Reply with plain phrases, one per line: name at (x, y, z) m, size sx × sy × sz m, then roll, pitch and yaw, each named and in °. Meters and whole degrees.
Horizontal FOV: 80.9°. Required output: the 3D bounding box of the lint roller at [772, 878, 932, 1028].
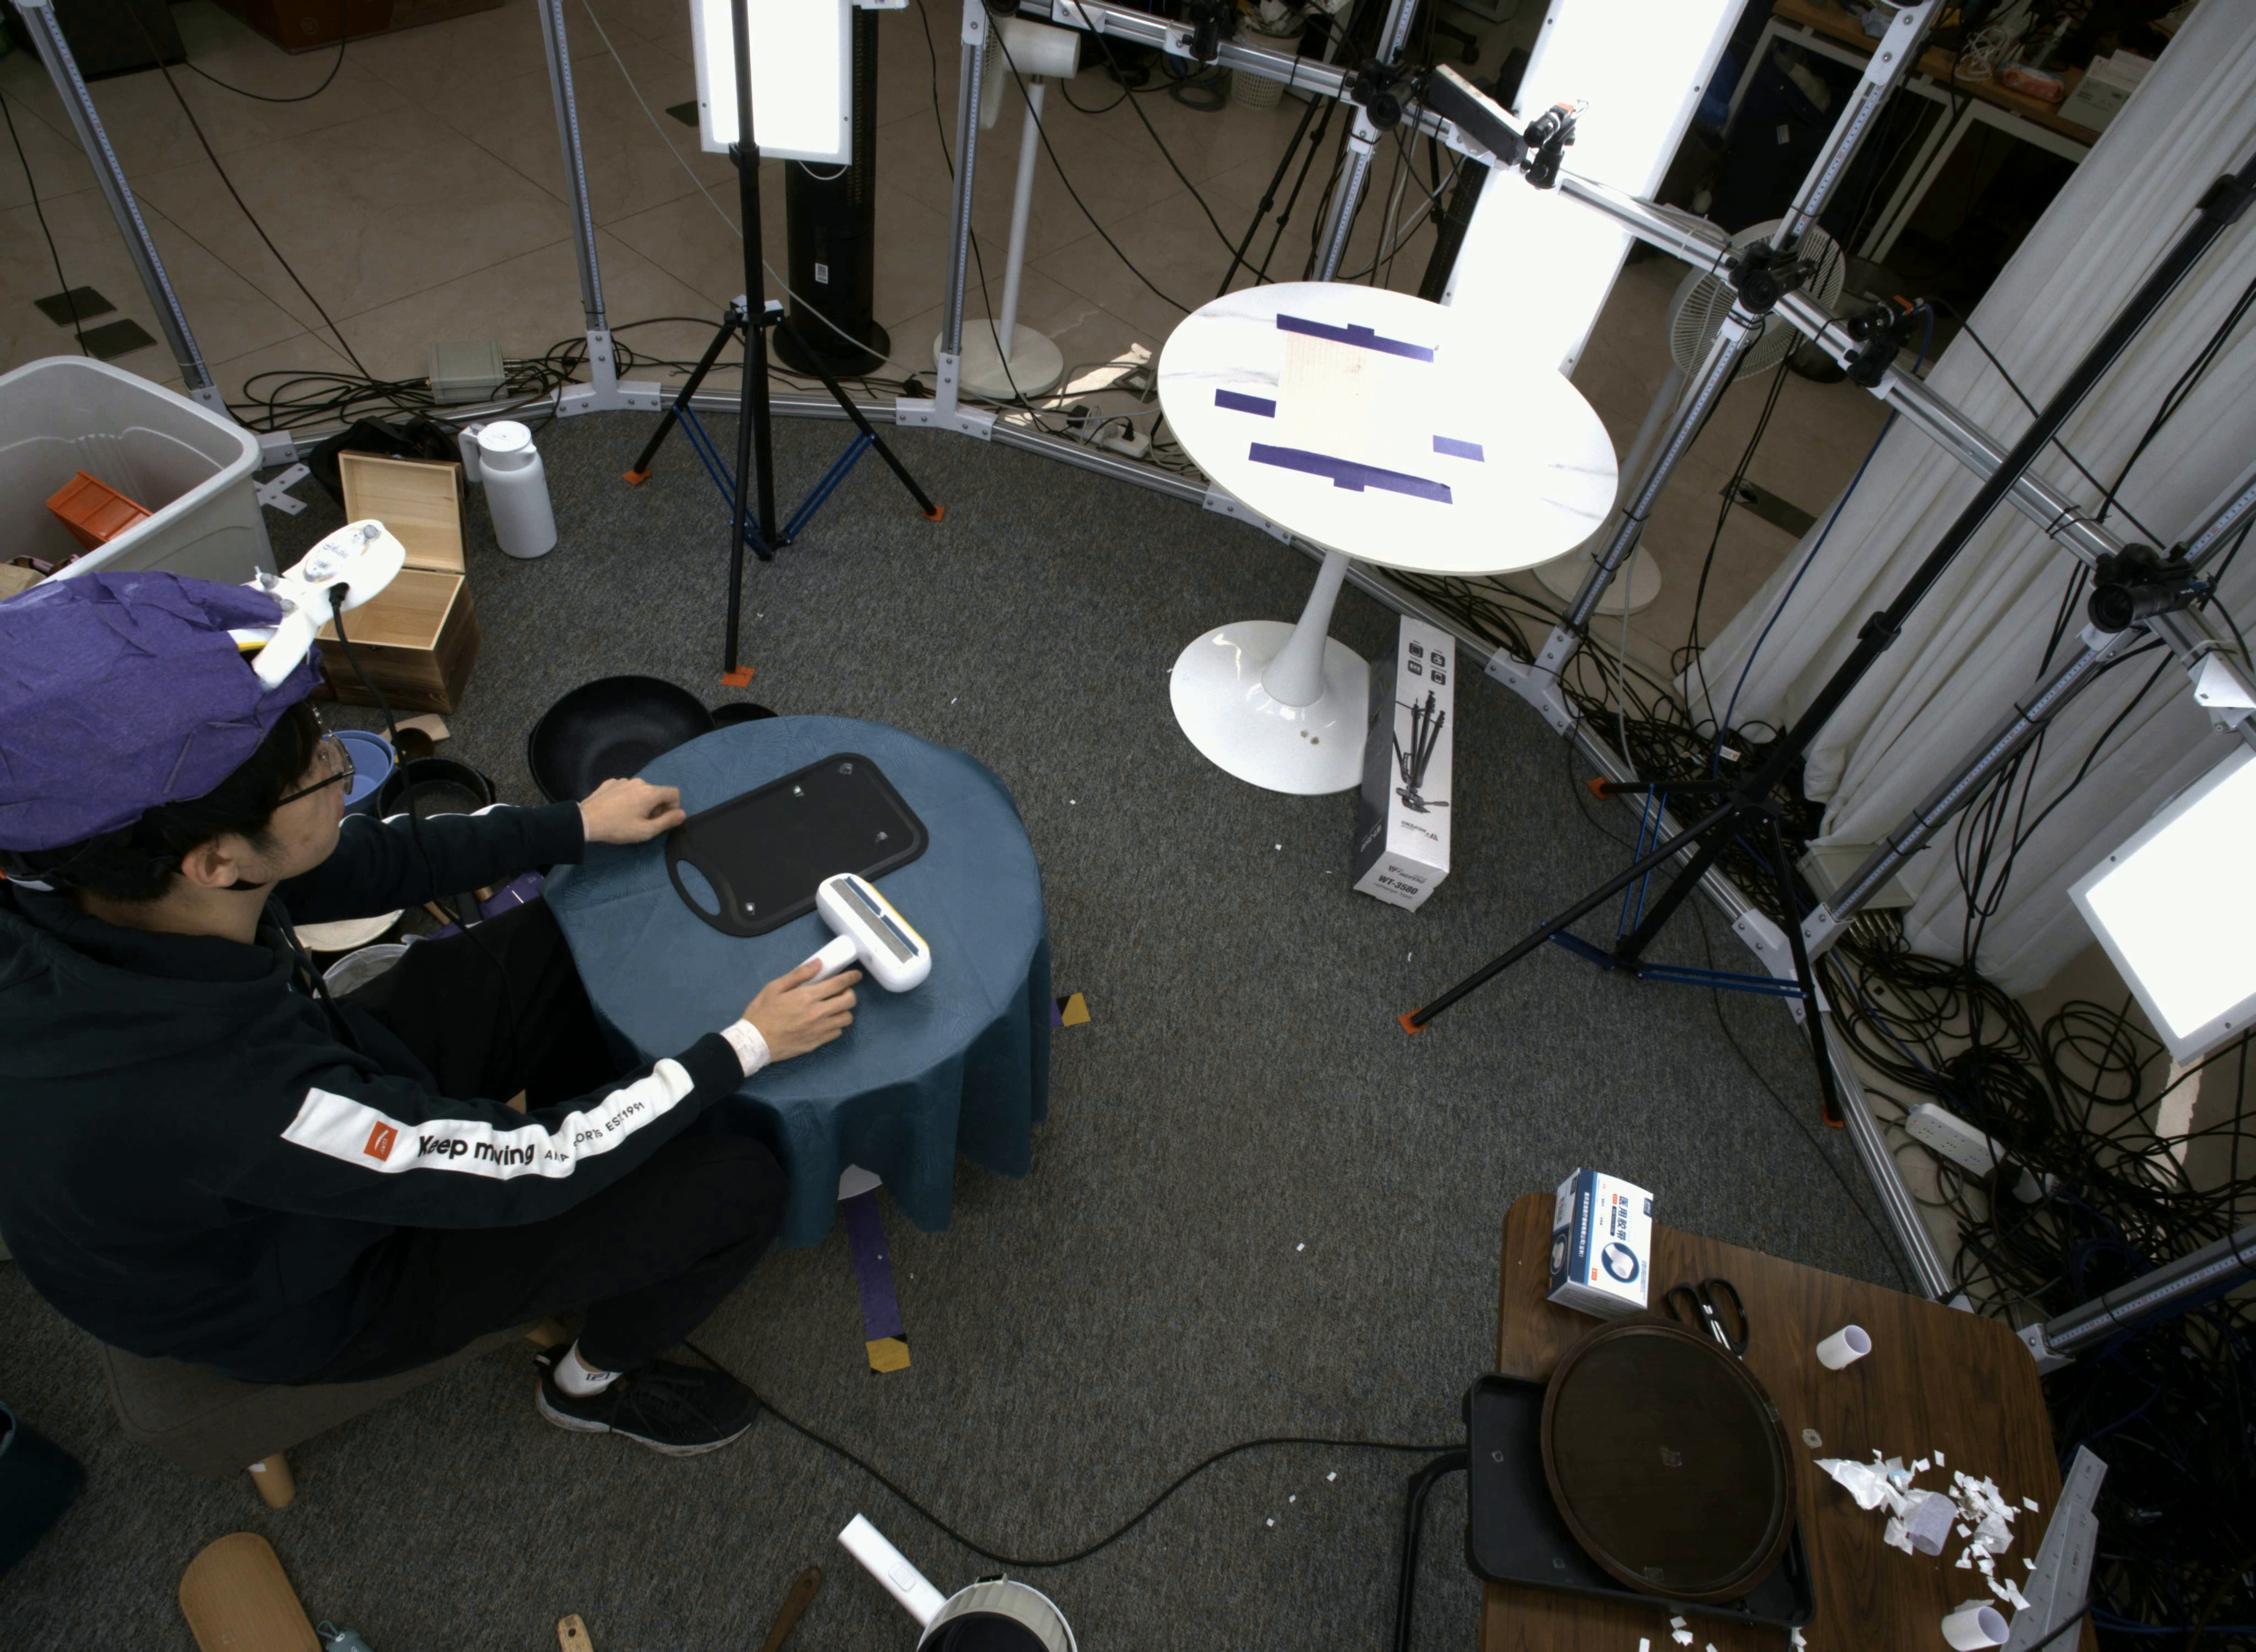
lint roller at (-0.358, 0.172, 1.600) m, size 0.192 × 0.076 × 0.187 m, roll -33°, pitch 60°, yaw -16°

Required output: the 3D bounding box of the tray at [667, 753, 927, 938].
tray at (-0.439, 0.020, 1.707) m, size 0.327 × 0.010 × 0.206 m, roll -28°, pitch 65°, yaw -30°
